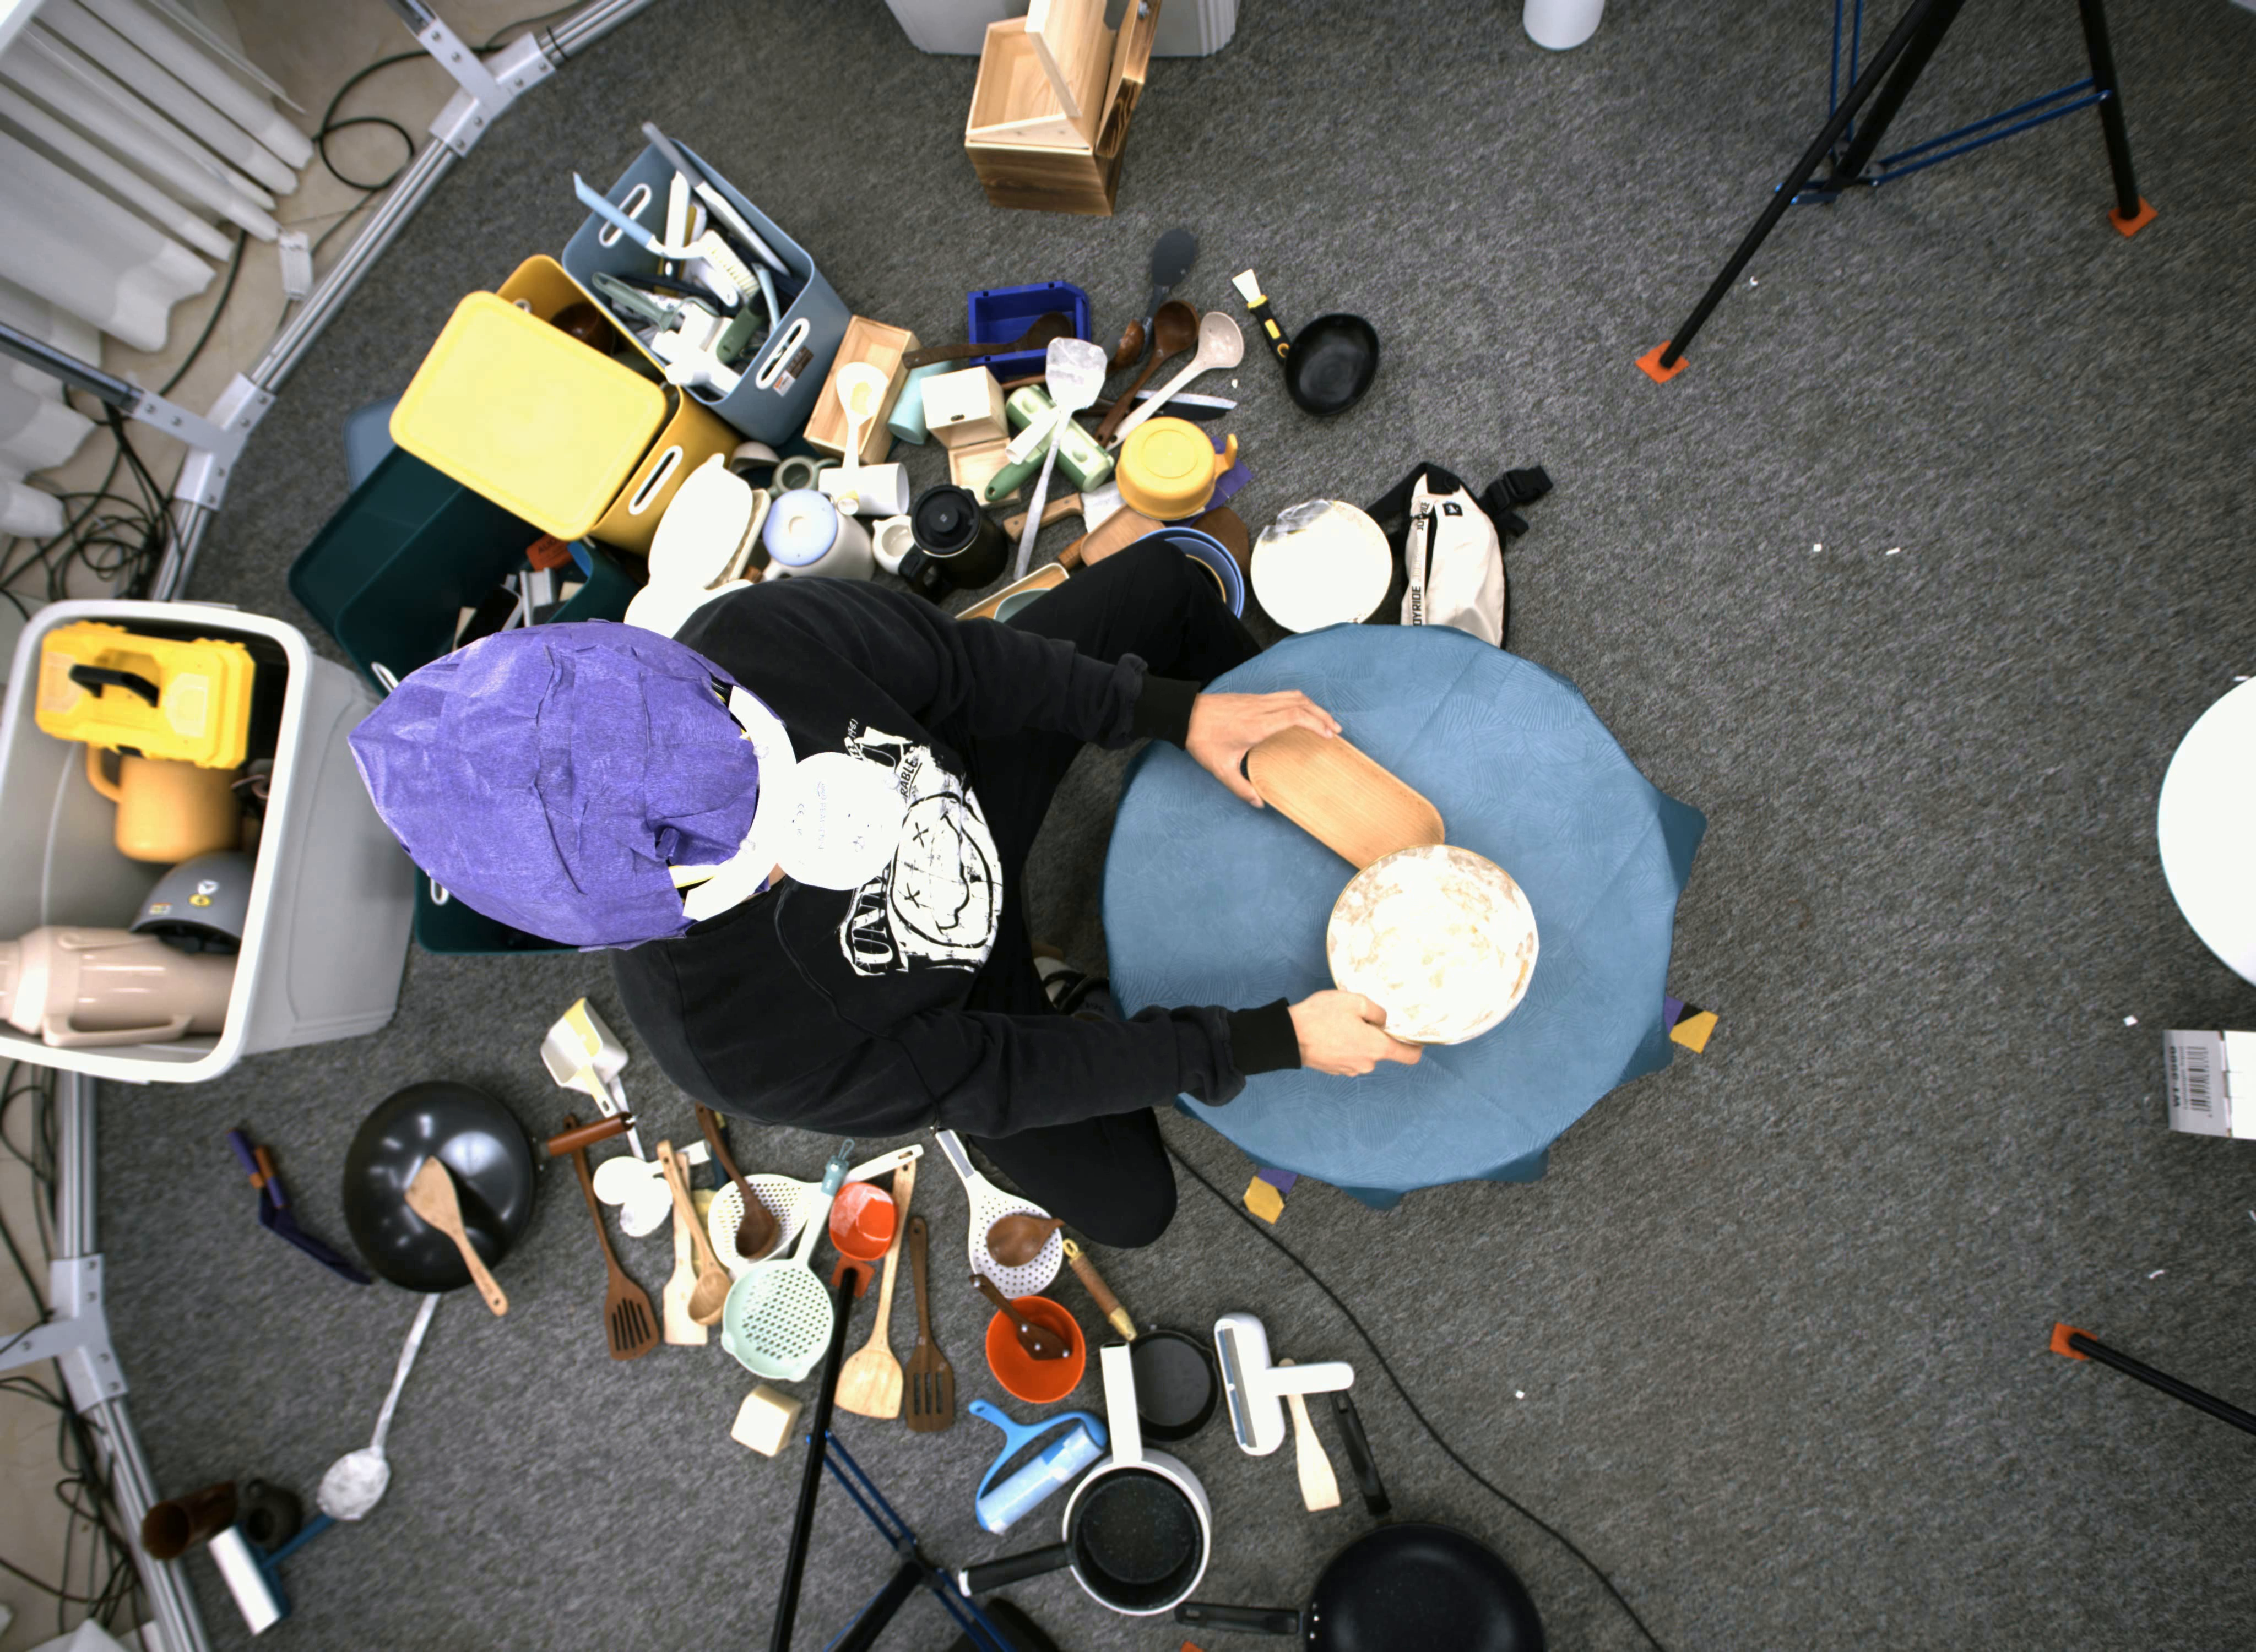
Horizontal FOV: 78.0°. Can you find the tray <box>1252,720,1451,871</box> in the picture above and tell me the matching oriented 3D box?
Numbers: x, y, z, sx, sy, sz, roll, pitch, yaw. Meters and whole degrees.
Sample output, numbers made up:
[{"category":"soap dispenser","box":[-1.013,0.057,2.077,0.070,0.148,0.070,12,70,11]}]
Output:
[{"category":"tray","box":[0.234,-0.025,1.452,0.231,0.020,0.102,35,95,-1]}]

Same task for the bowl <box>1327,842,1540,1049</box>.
[{"category":"bowl","box":[0.304,0.124,1.372,0.216,0.095,0.211,-7,70,18]}]
